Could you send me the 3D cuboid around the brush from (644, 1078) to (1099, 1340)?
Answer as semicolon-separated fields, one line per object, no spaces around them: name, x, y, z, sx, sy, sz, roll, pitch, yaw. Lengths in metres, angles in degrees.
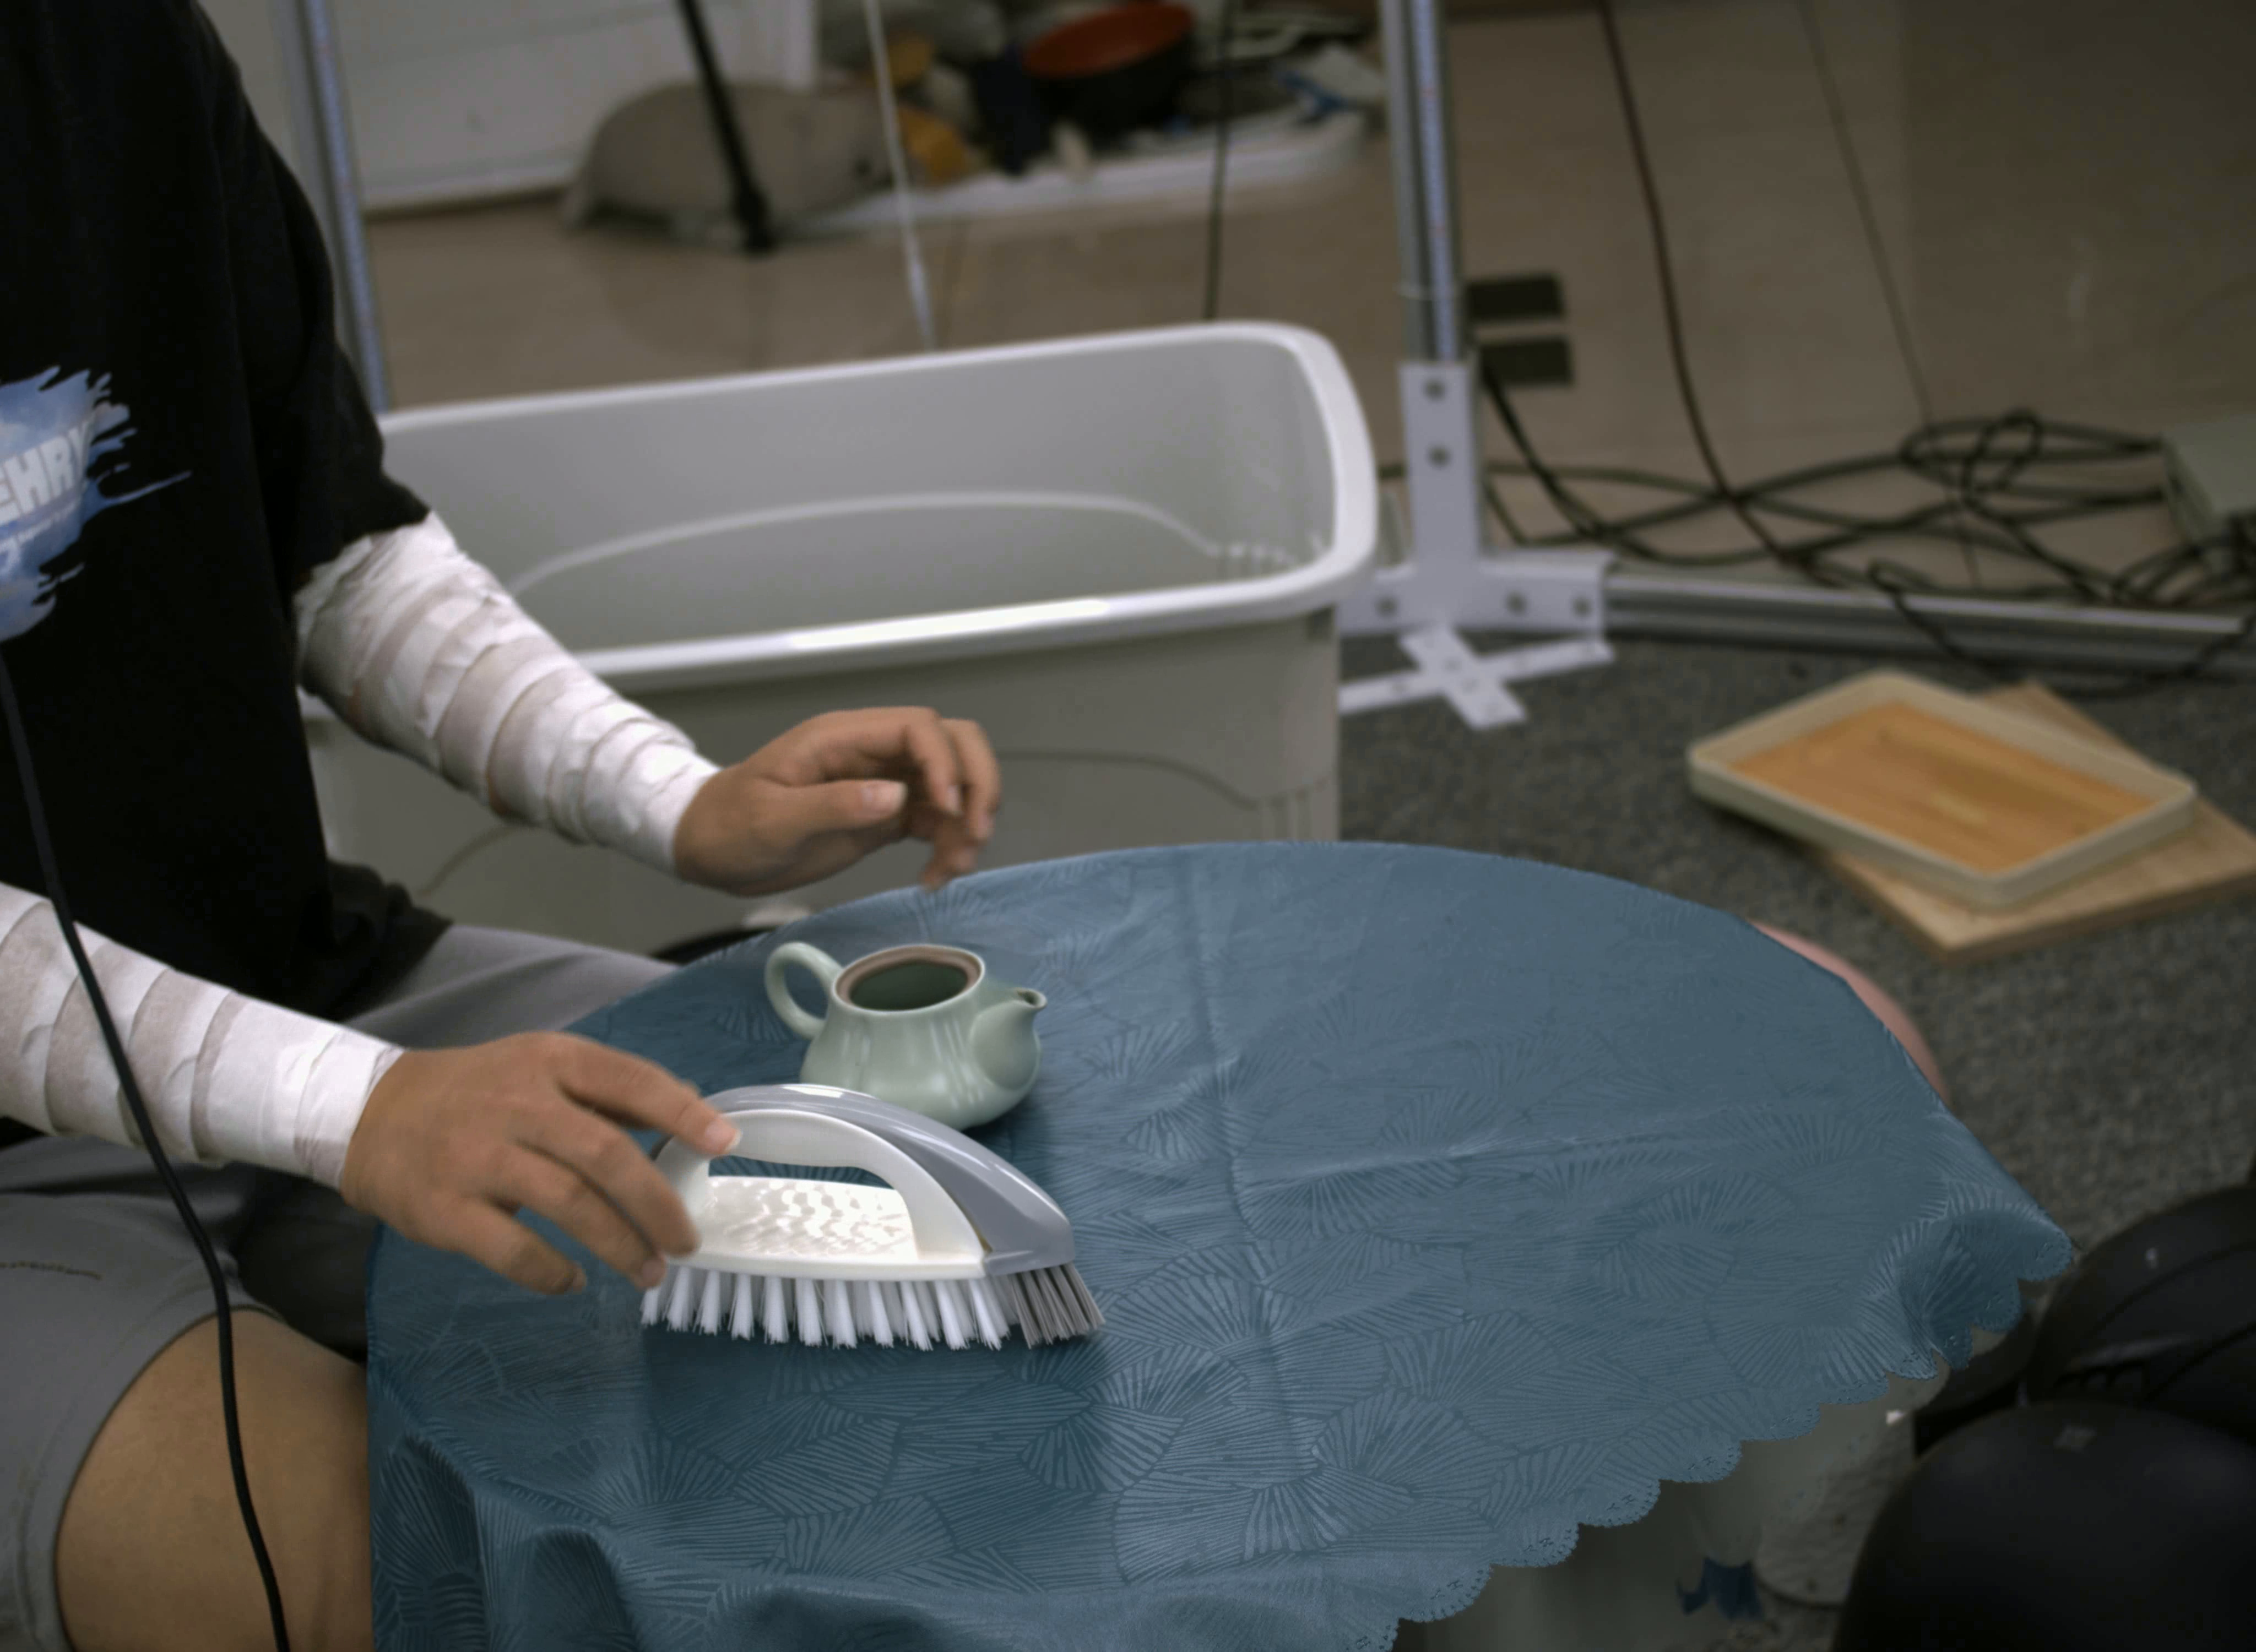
brush;-0.096;0.137;2.067;0.175;0.096;0.060;6;31;22

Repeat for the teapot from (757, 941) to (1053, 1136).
teapot;-0.085;0.082;2.219;0.136;0.062;0.095;9;32;30
